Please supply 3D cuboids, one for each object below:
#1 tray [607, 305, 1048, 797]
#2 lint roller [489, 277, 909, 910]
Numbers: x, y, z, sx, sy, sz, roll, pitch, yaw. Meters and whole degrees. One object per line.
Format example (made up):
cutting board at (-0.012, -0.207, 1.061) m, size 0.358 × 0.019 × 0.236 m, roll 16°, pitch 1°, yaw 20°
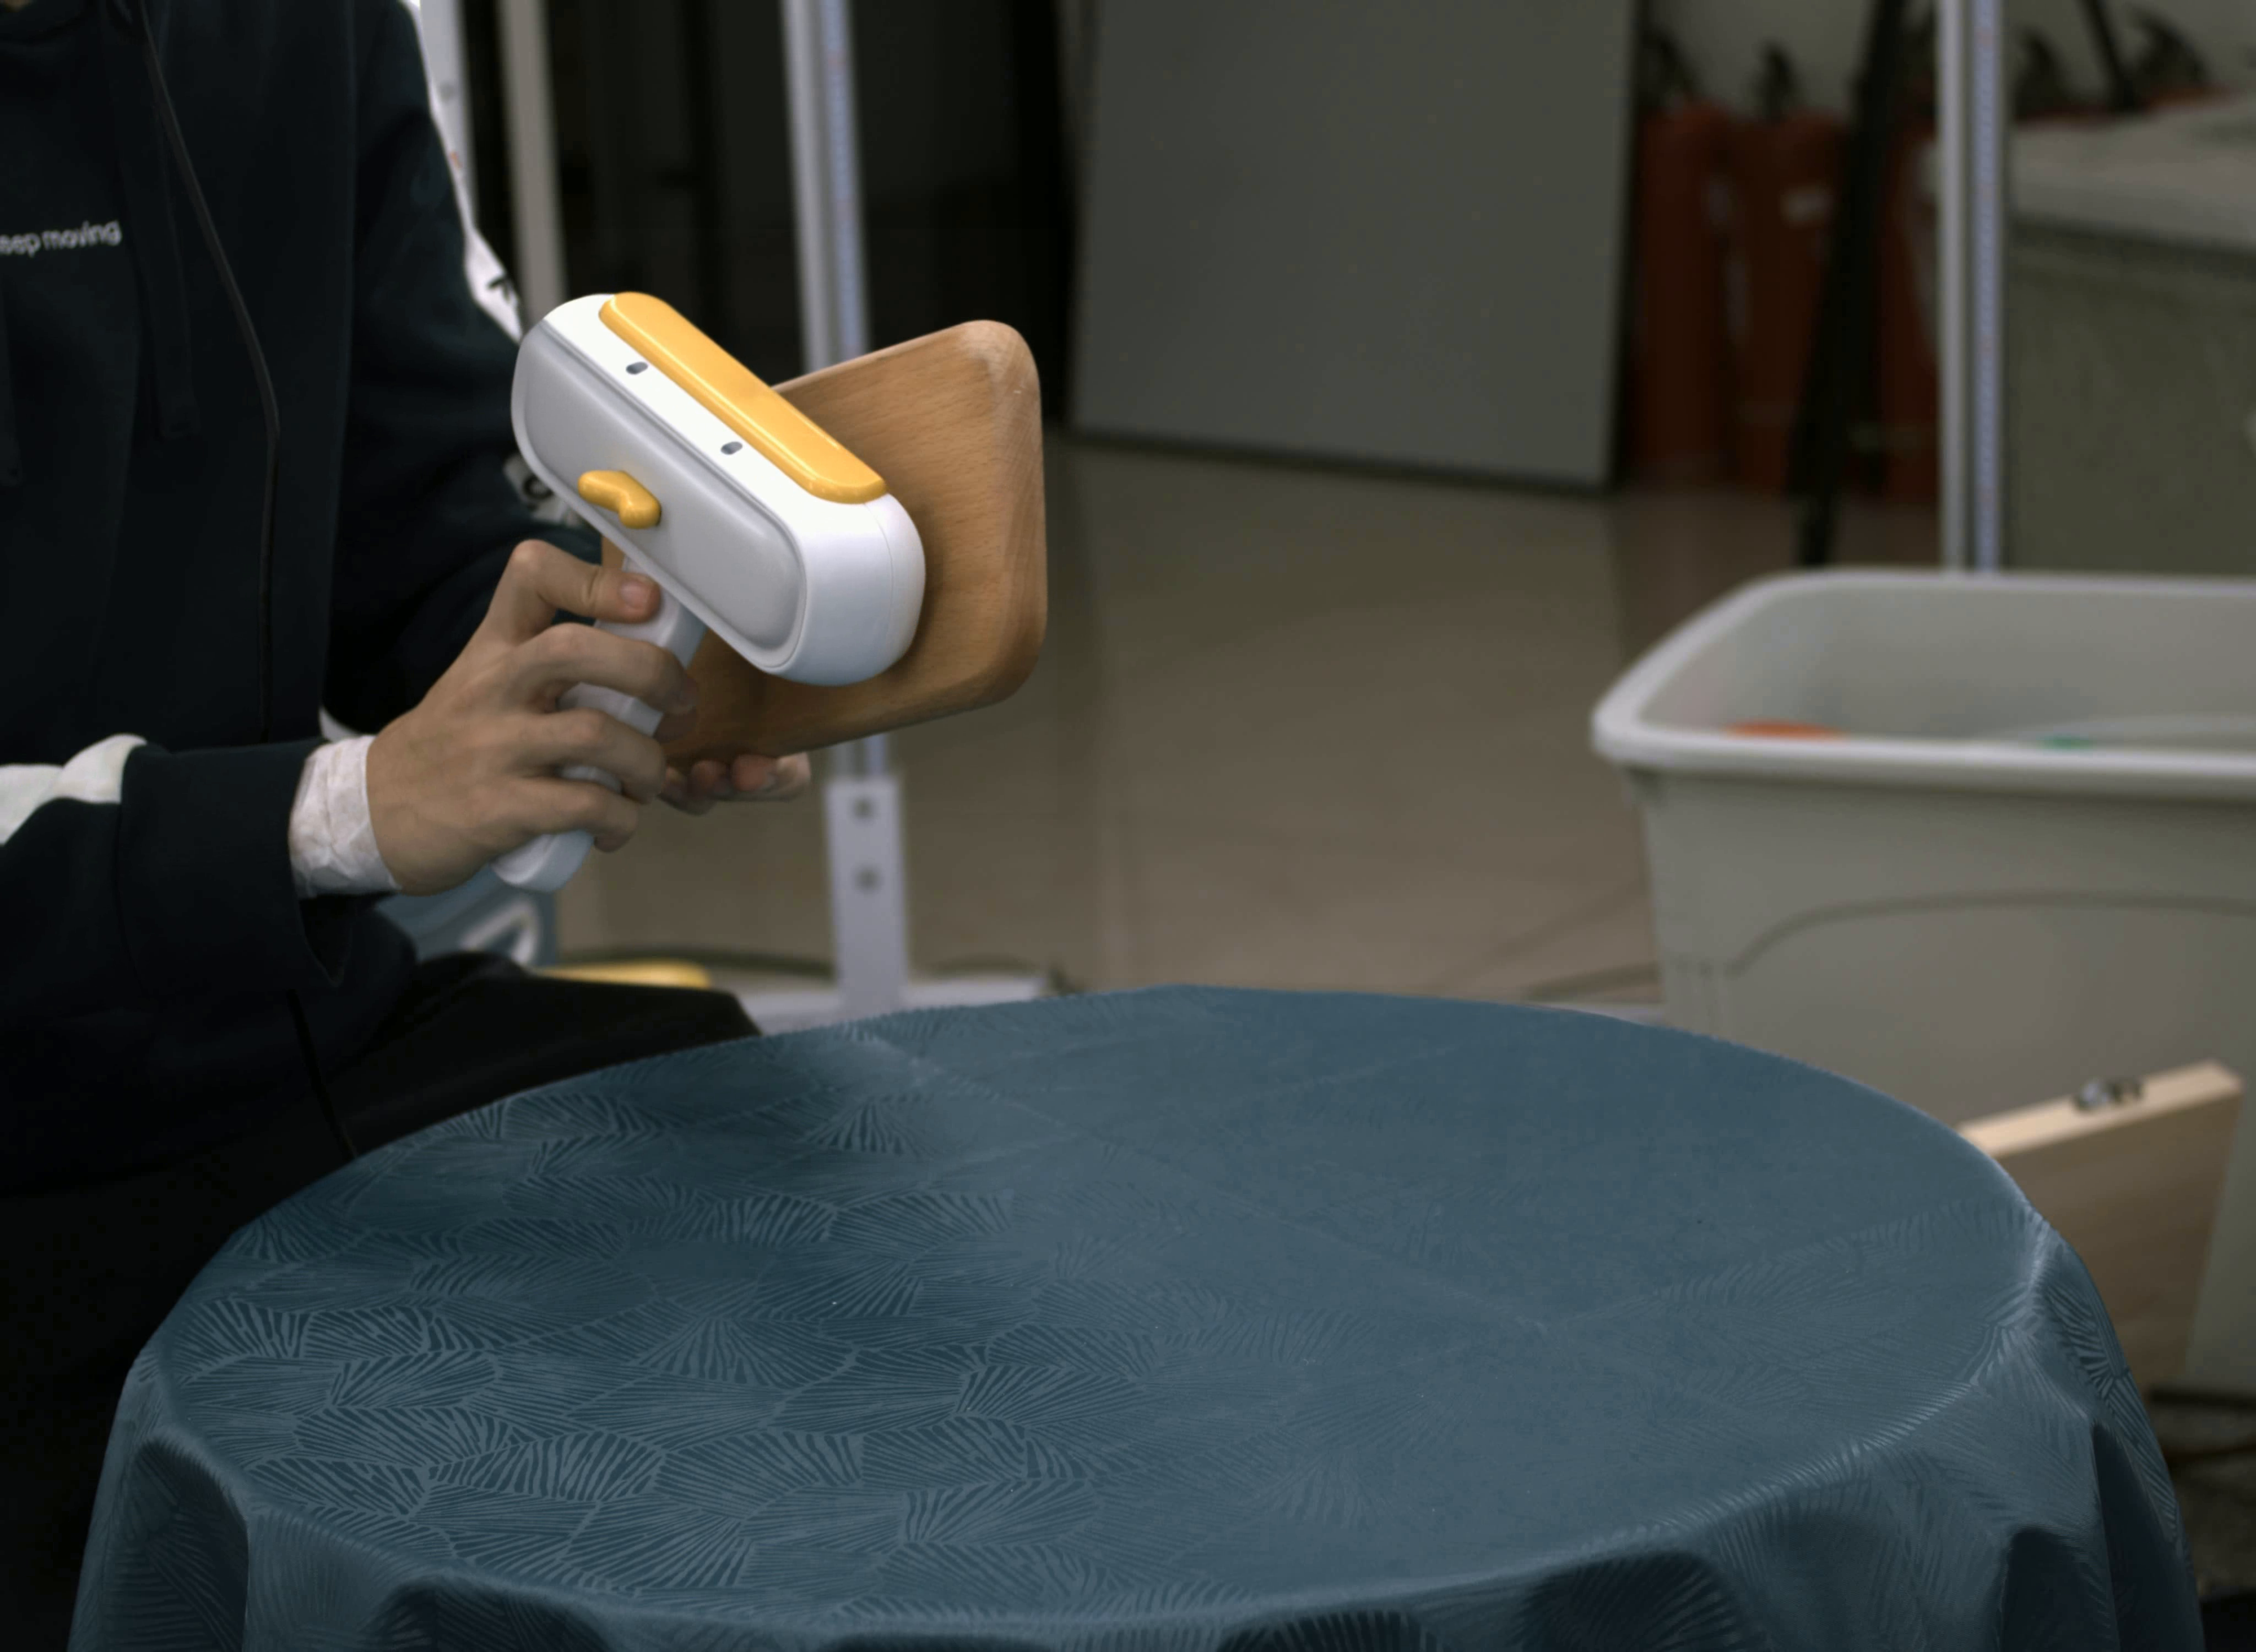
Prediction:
tray at (-0.106, -0.089, 1.813) m, size 0.022 × 0.132 × 0.253 m, roll 7°, pitch -13°, yaw -36°
lint roller at (-0.161, -0.064, 1.802) m, size 0.072 × 0.194 × 0.195 m, roll -7°, pitch 29°, yaw -44°
